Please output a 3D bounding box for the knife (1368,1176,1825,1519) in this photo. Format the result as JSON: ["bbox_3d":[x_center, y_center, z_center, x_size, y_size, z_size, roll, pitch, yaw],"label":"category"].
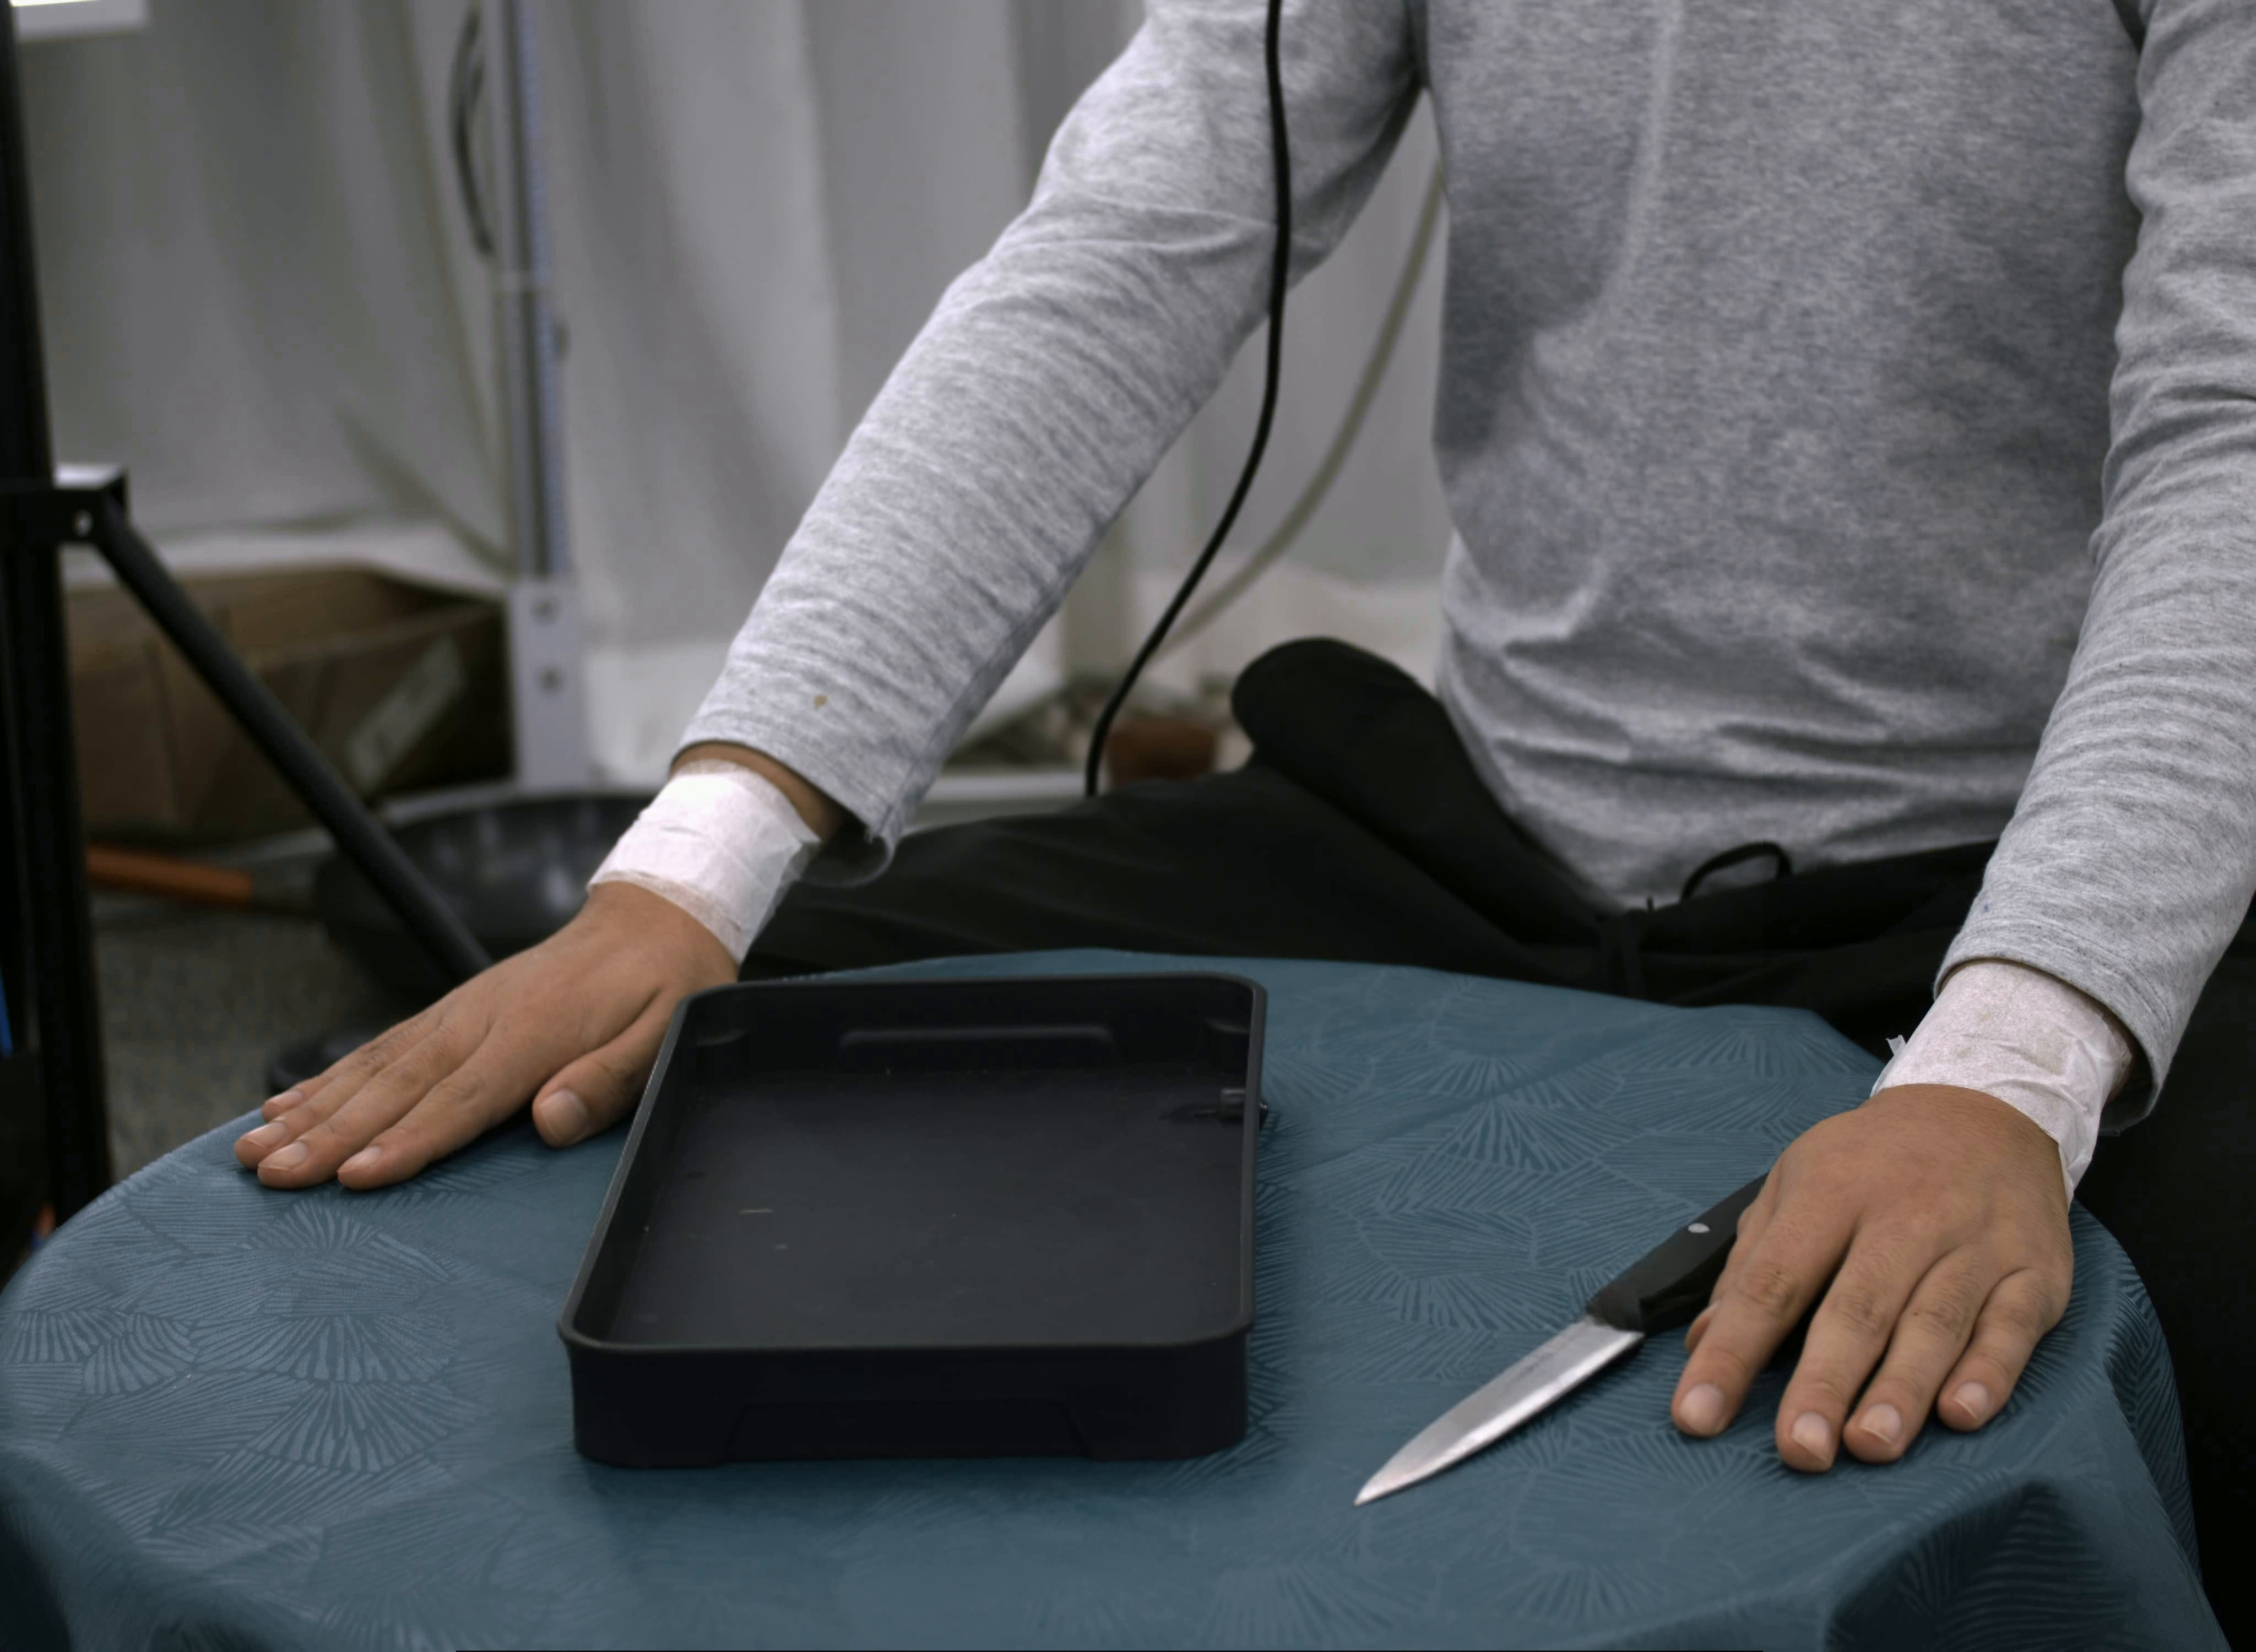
[{"bbox_3d":[0.125,0.139,1.414,0.025,0.016,0.233,6,21,34],"label":"knife"}]

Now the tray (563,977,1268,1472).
[{"bbox_3d":[-0.054,0.107,1.507,0.184,0.037,0.319,-1,15,2],"label":"tray"}]
